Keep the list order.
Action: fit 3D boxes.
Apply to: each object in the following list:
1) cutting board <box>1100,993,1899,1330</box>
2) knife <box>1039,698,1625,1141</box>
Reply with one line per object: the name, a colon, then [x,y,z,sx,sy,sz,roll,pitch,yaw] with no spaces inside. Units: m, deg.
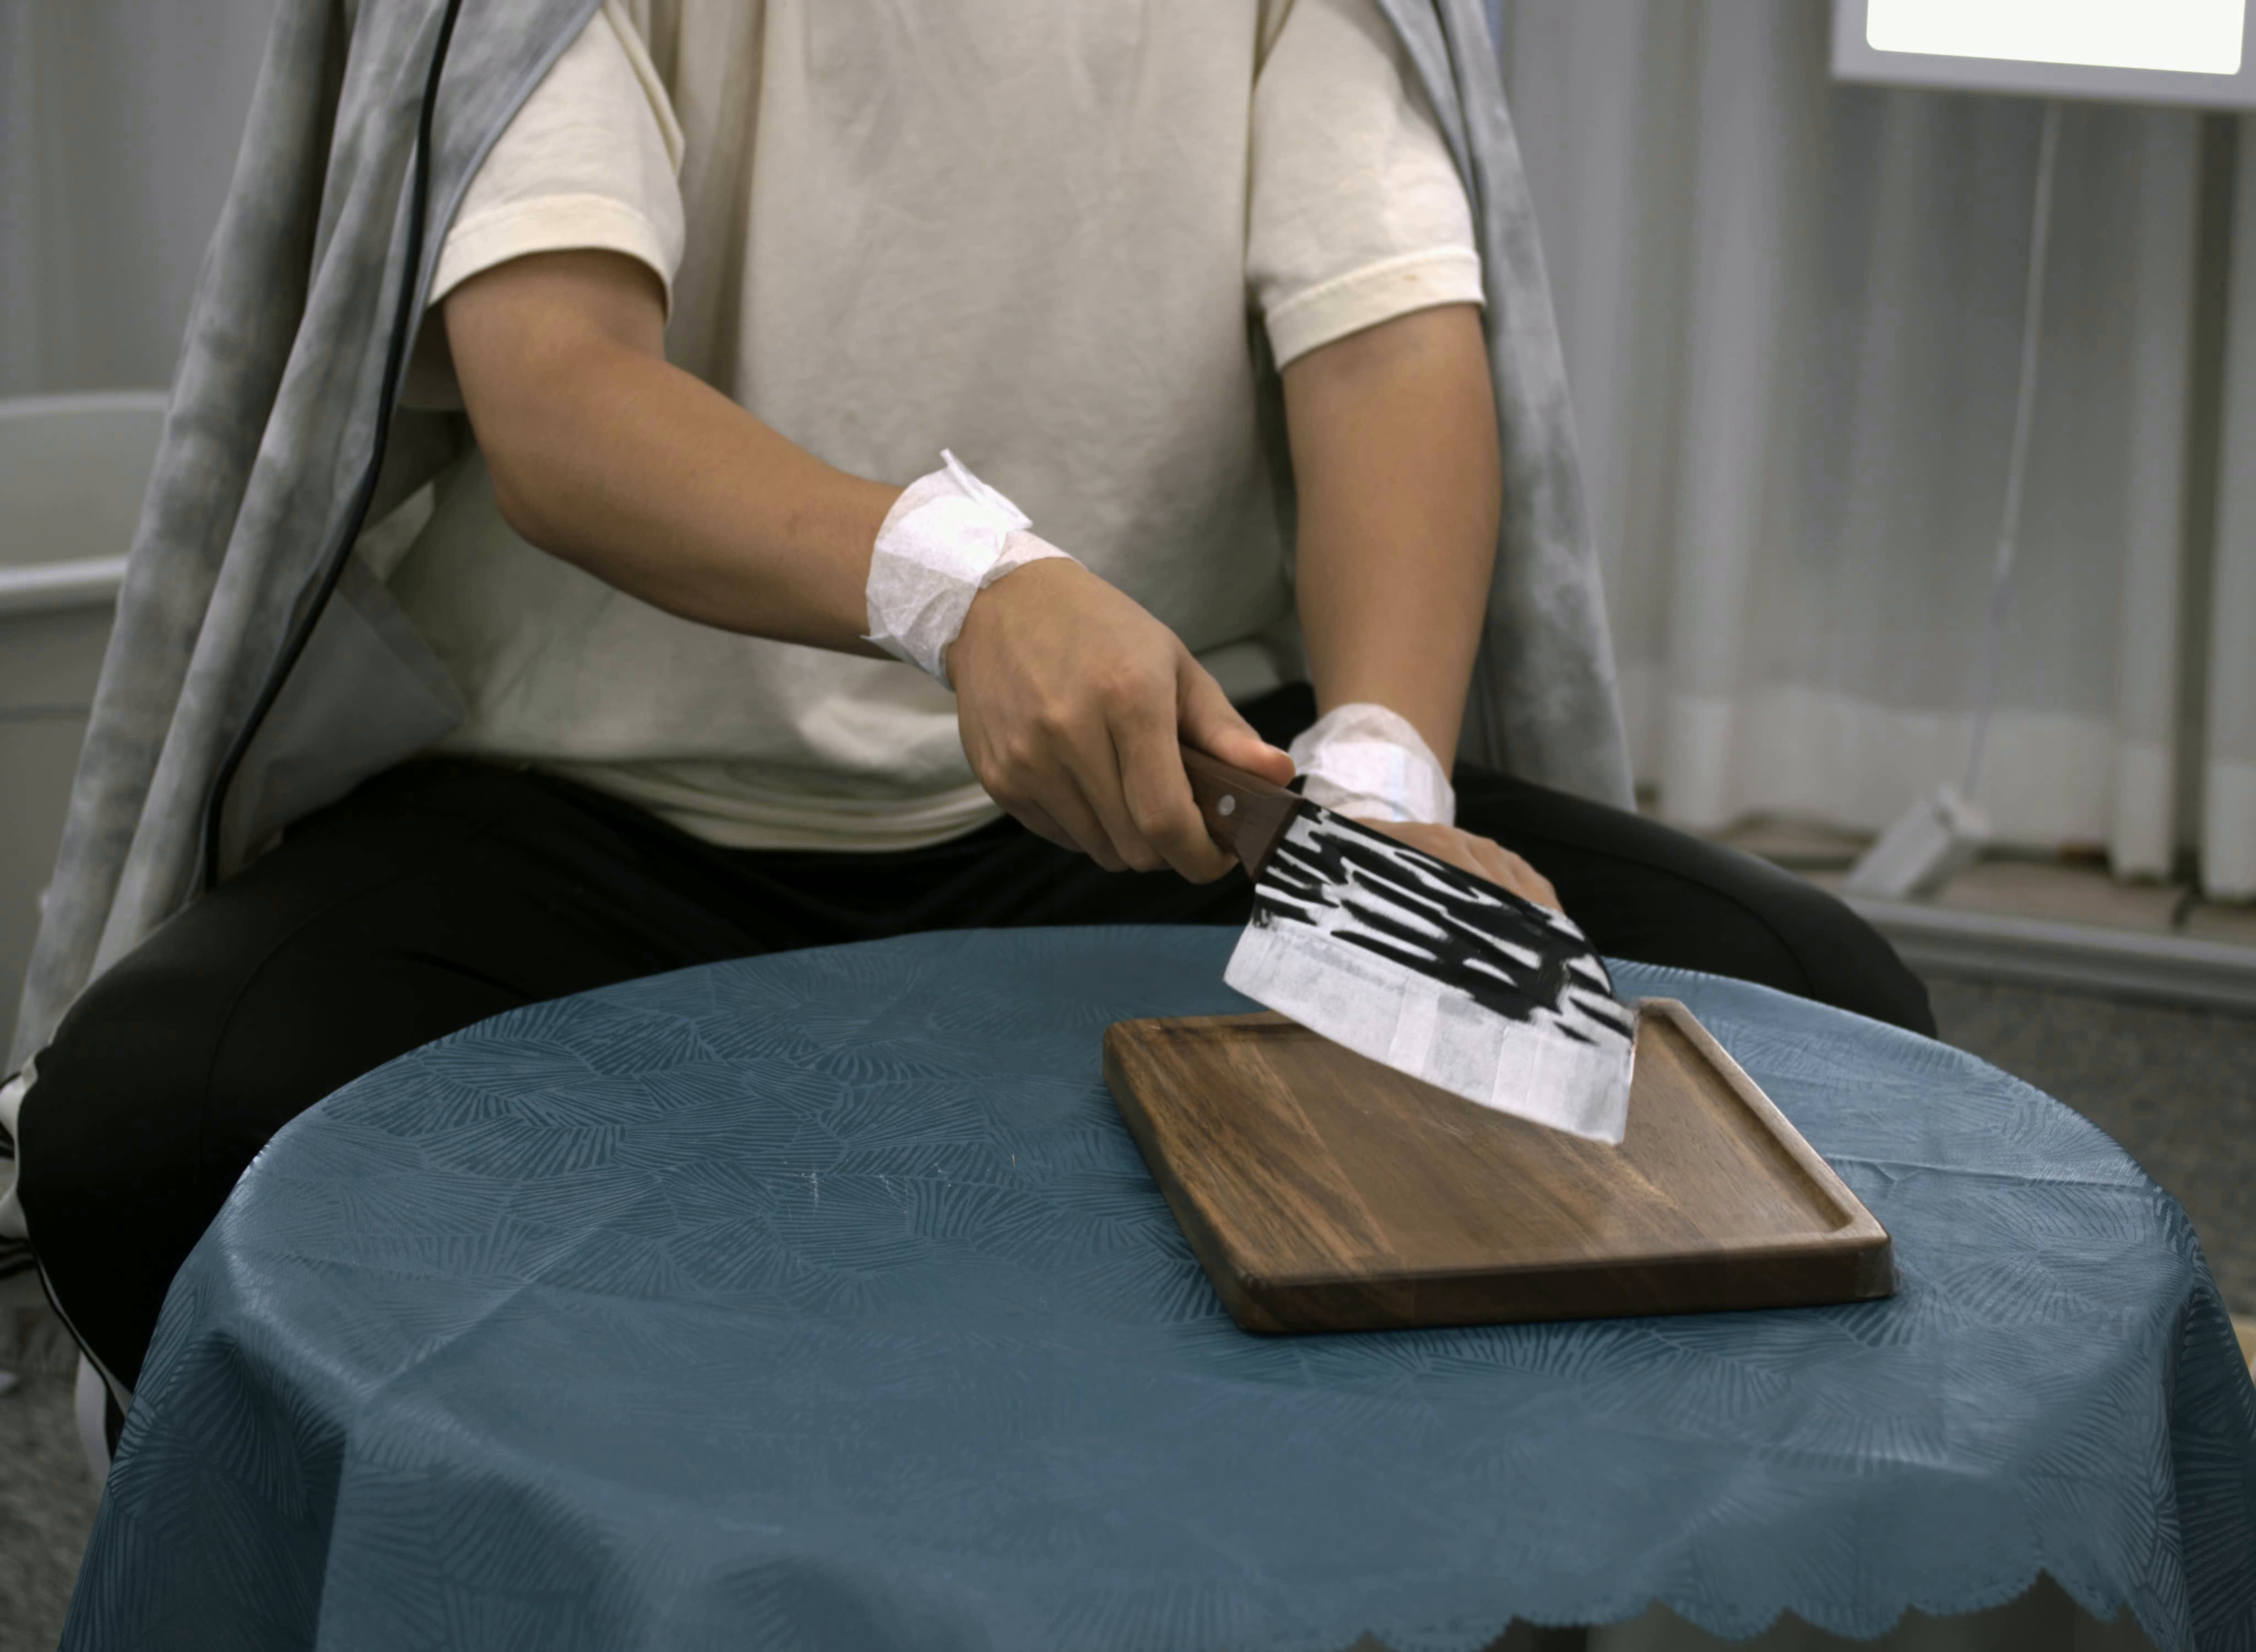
cutting board: [0.100,0.087,1.682,0.201,0.023,0.349,-2,15,-10]
knife: [0.061,0.028,1.705,0.024,0.068,0.295,19,5,-46]
